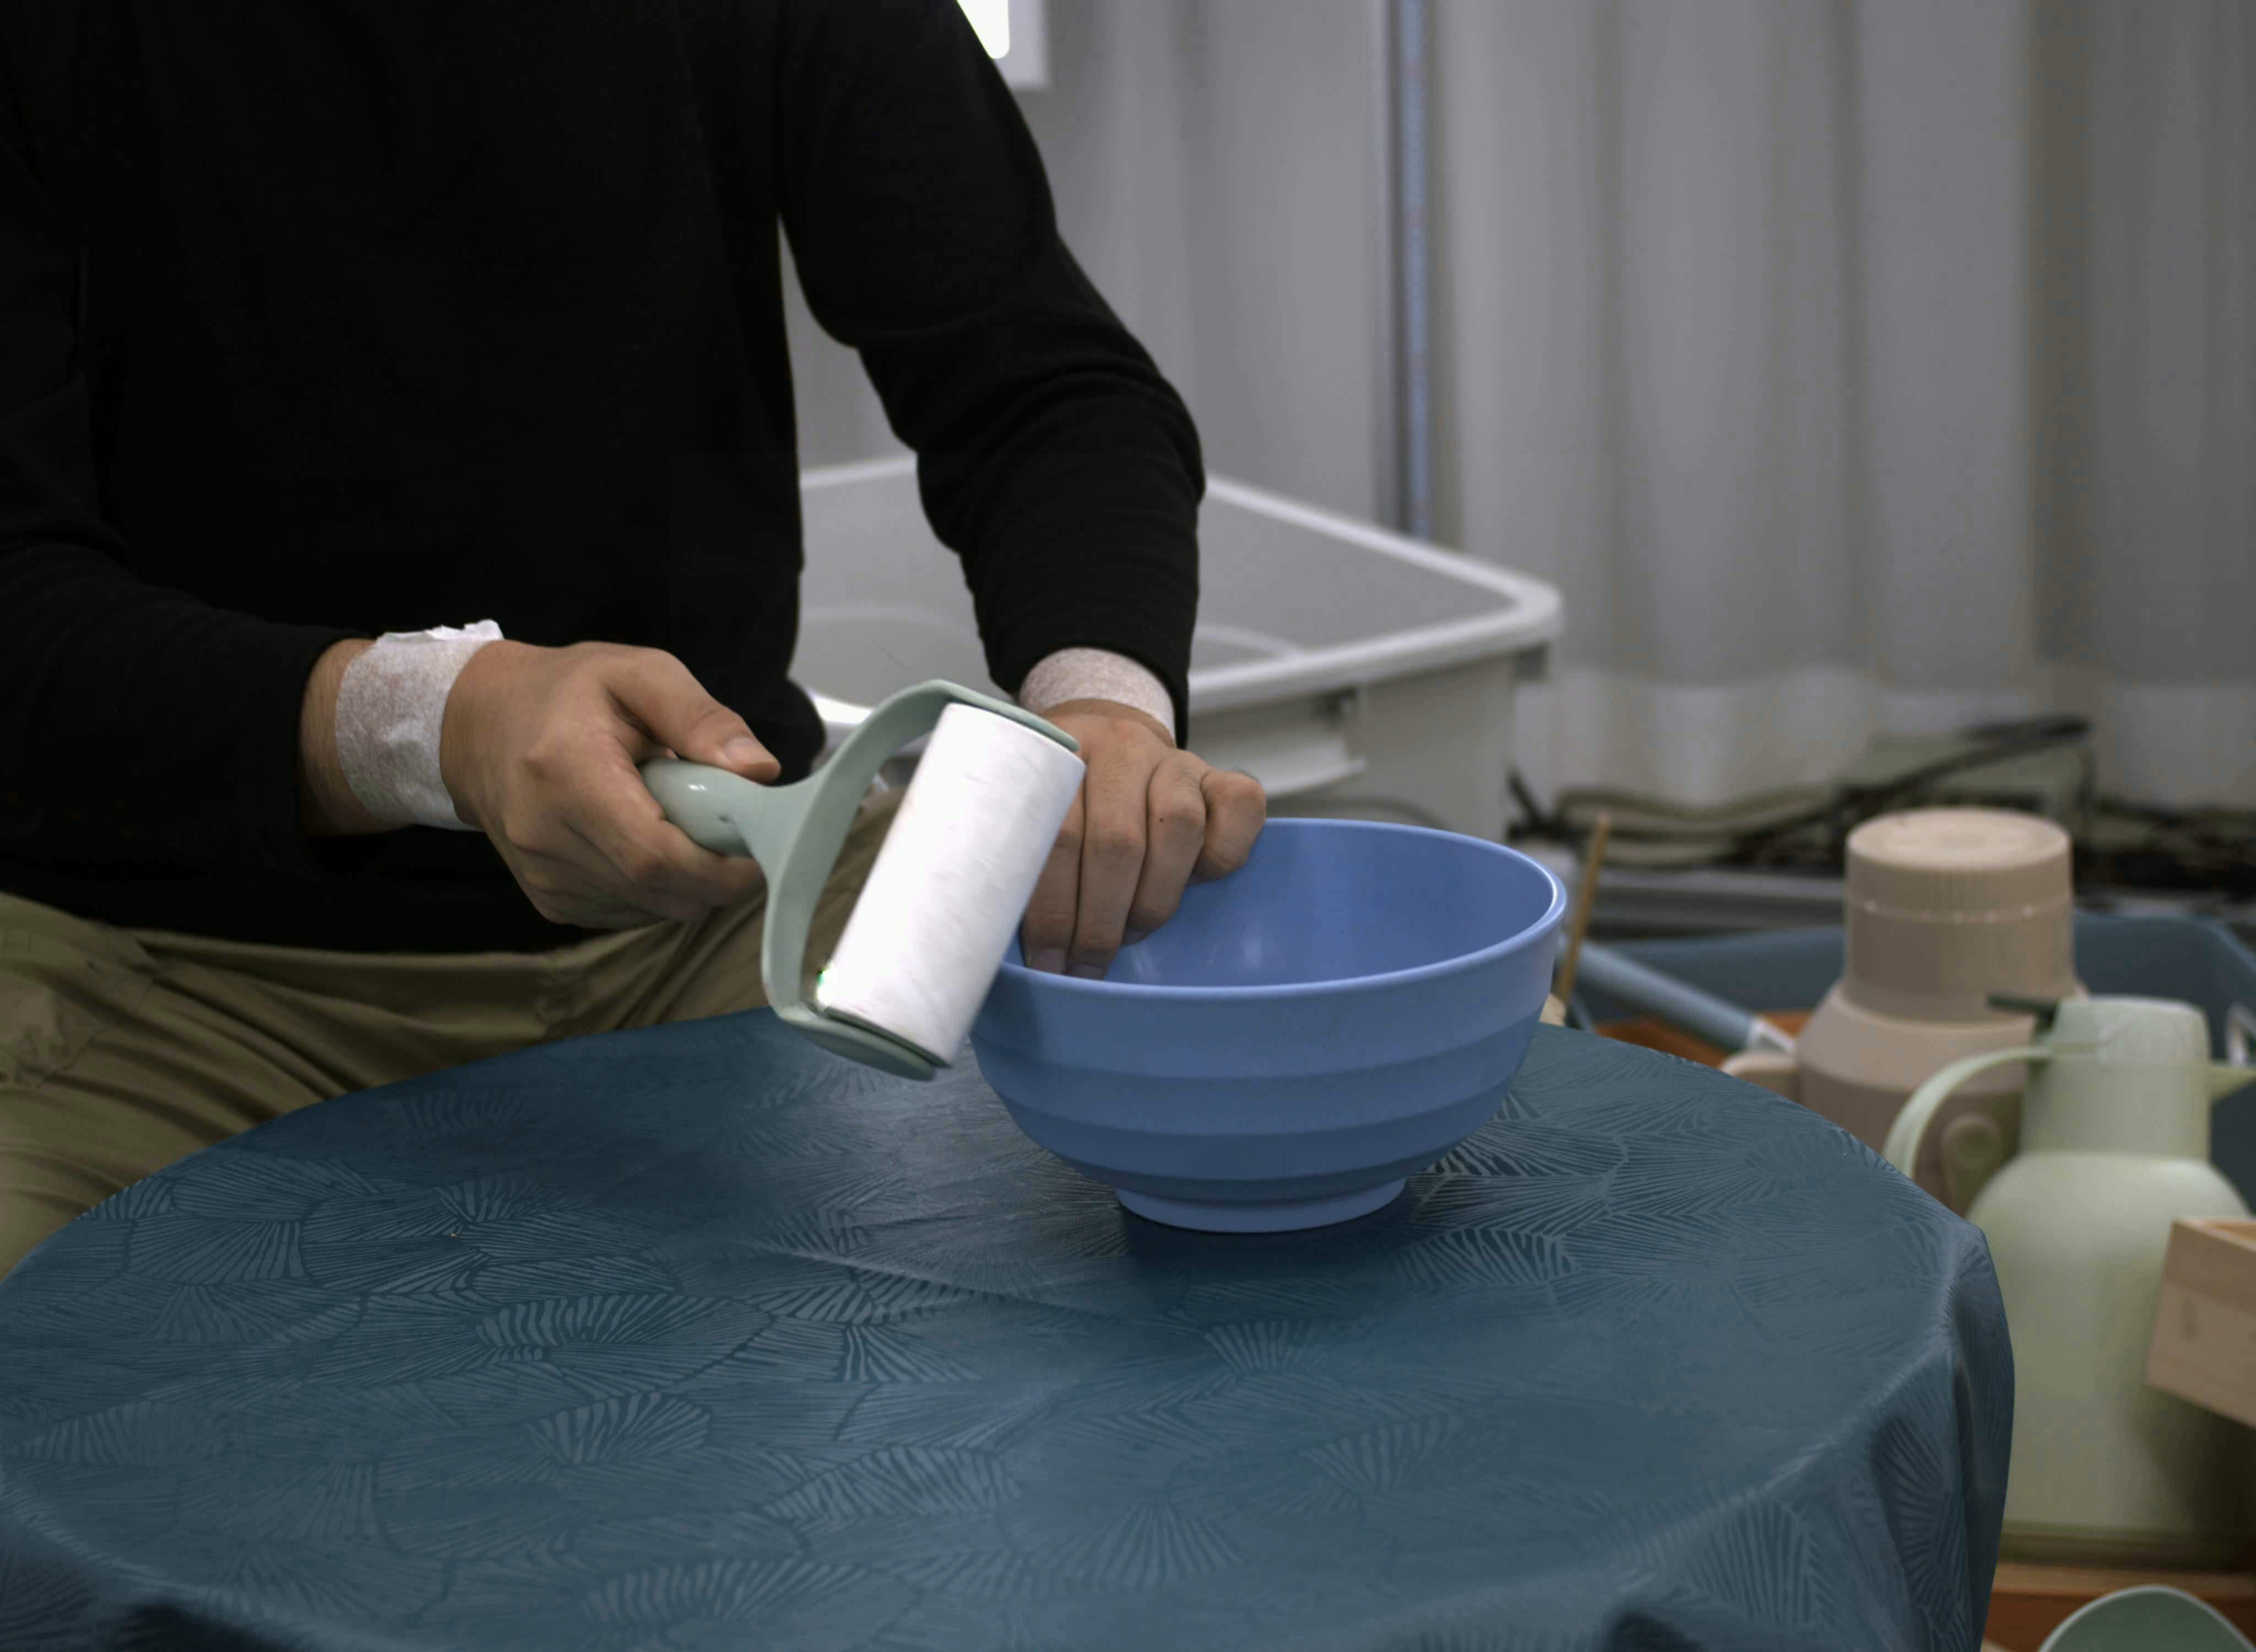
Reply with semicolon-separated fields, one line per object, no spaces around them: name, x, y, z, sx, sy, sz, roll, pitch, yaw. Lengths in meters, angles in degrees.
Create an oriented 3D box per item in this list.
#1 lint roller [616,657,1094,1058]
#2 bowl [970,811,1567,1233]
lint roller;-0.099;-0.001;1.678;0.199;0.117;0.048;13;-13;45
bowl;0.039;0.067;1.699;0.196;0.095;0.198;-3;16;1
